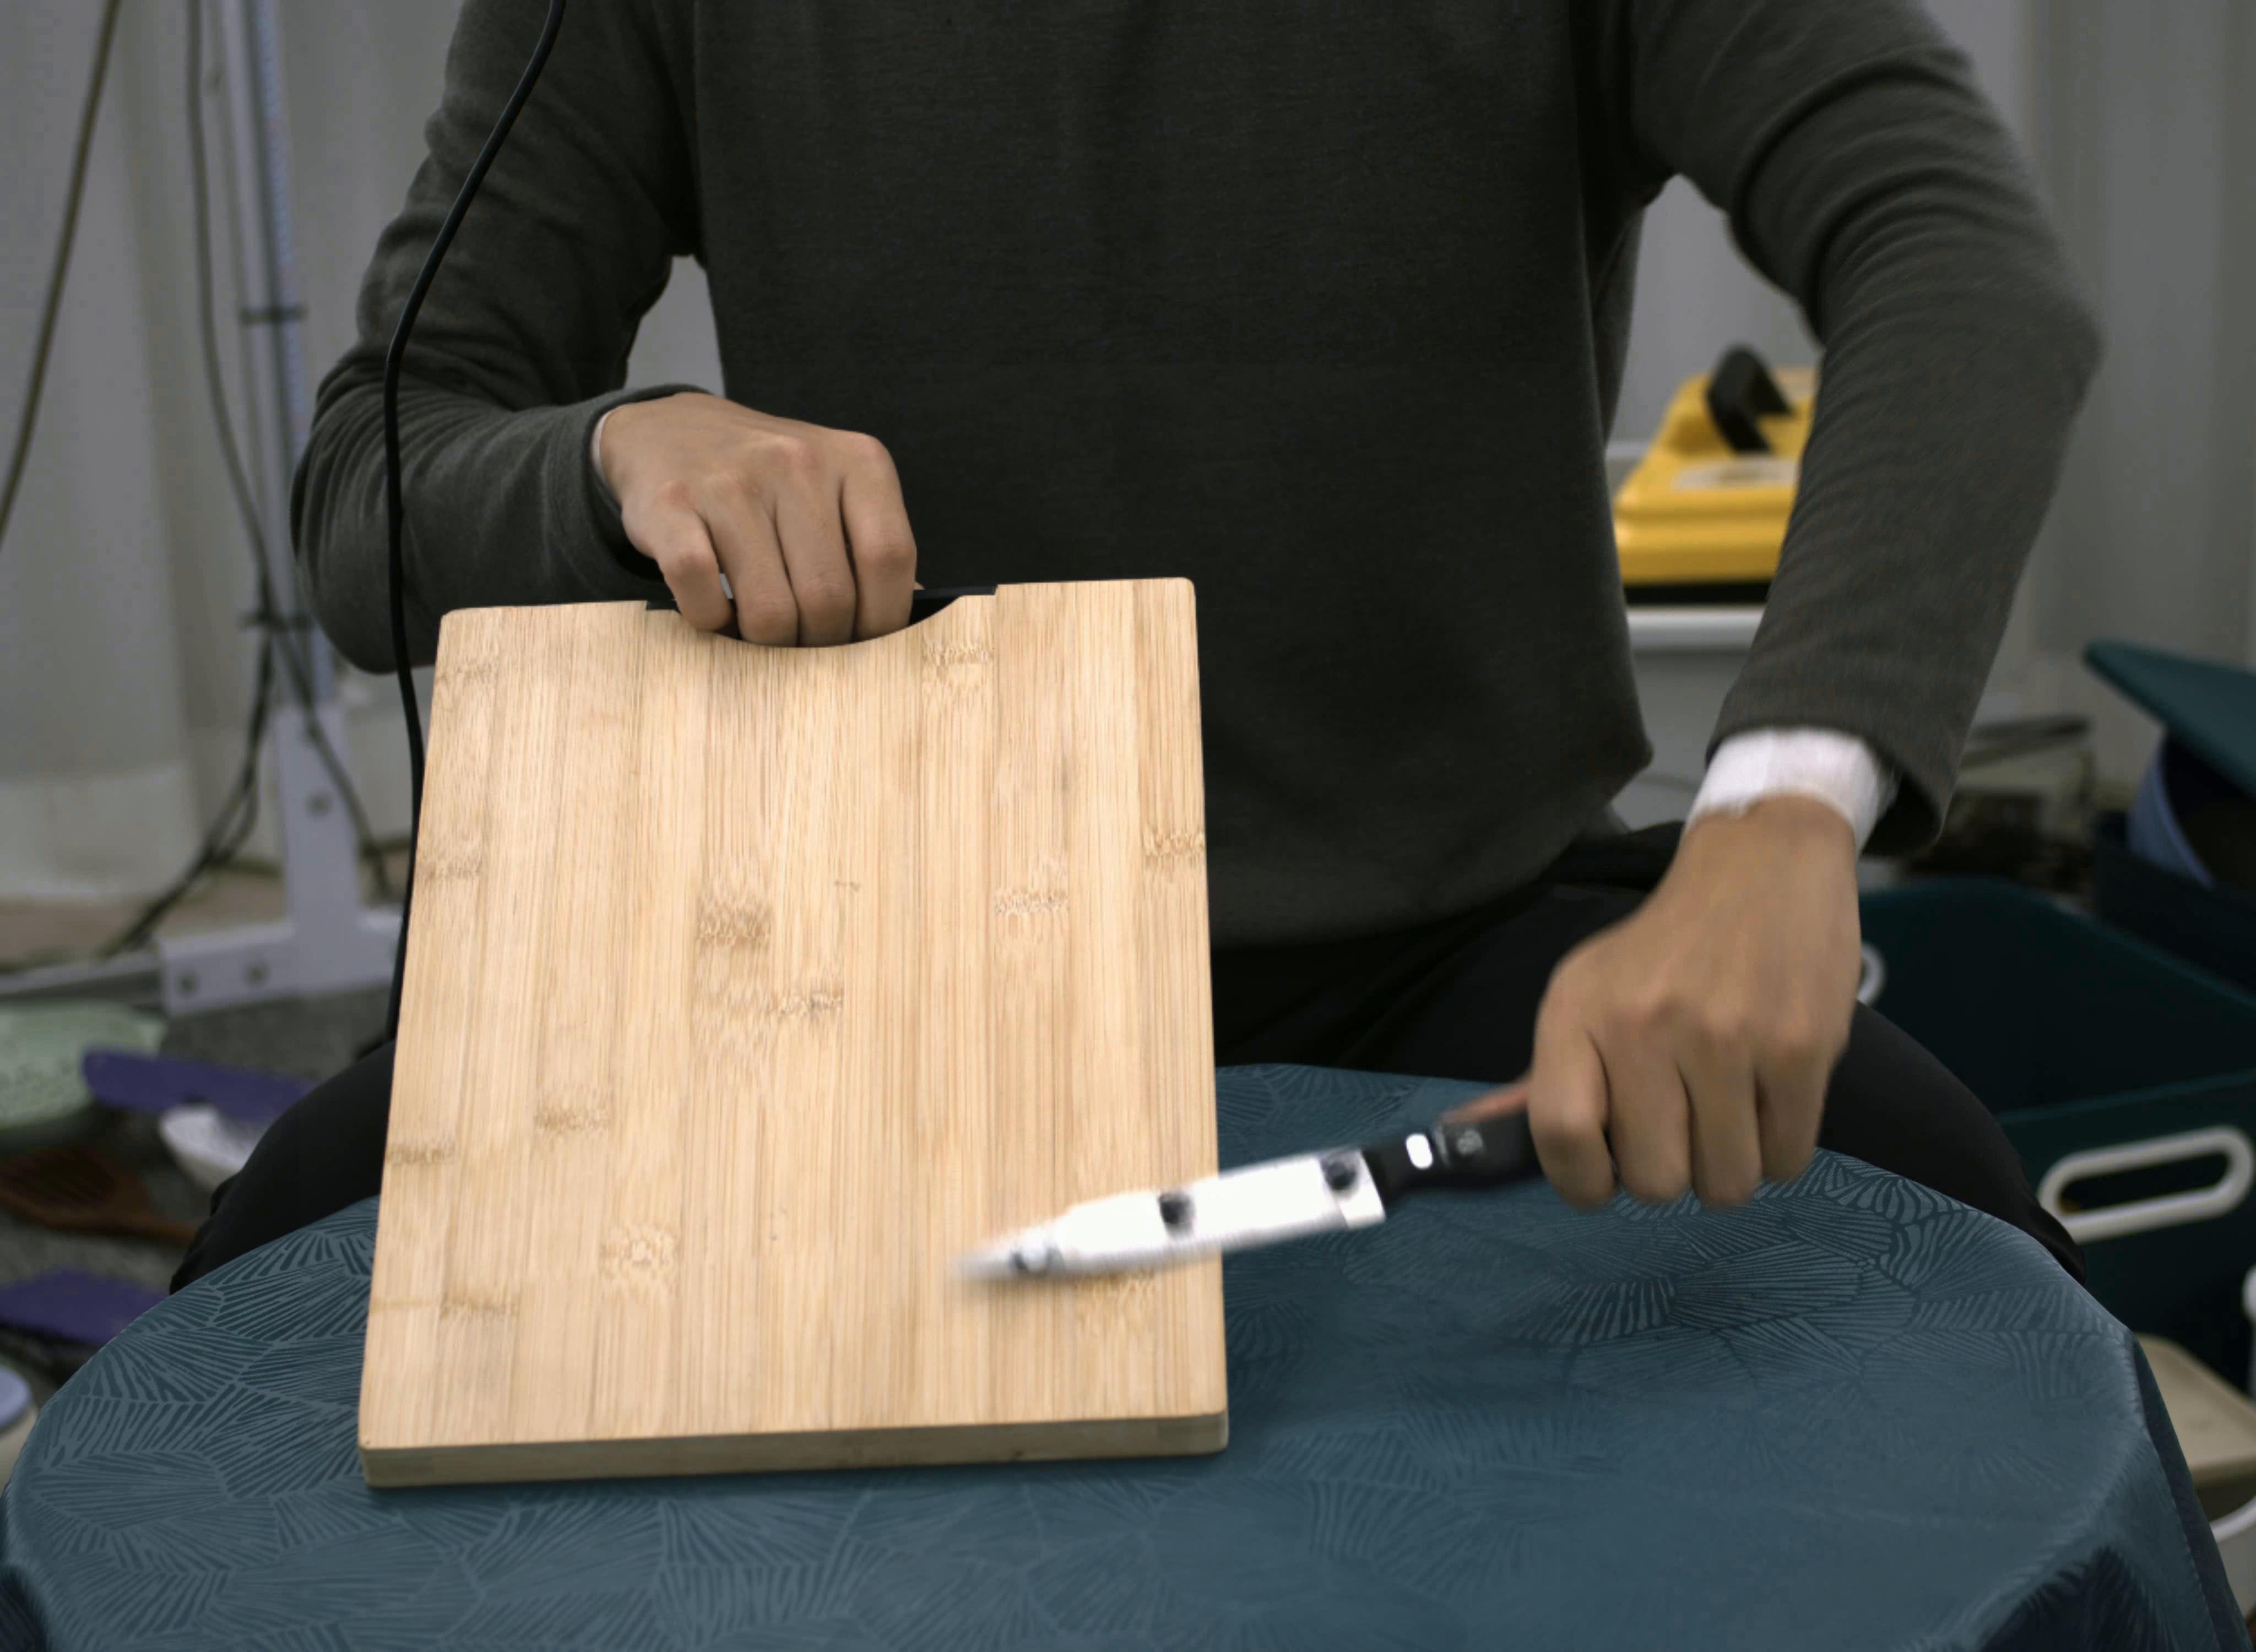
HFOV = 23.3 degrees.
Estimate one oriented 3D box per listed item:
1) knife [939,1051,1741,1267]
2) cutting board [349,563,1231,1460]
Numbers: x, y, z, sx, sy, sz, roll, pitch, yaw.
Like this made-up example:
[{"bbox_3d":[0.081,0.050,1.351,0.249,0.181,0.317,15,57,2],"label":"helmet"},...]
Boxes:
[{"bbox_3d":[0.060,0.095,1.548,0.237,0.016,0.025,-12,53,-12],"label":"knife"},{"bbox_3d":[-0.094,0.049,1.621,0.250,0.023,0.354,-3,44,0],"label":"cutting board"}]
